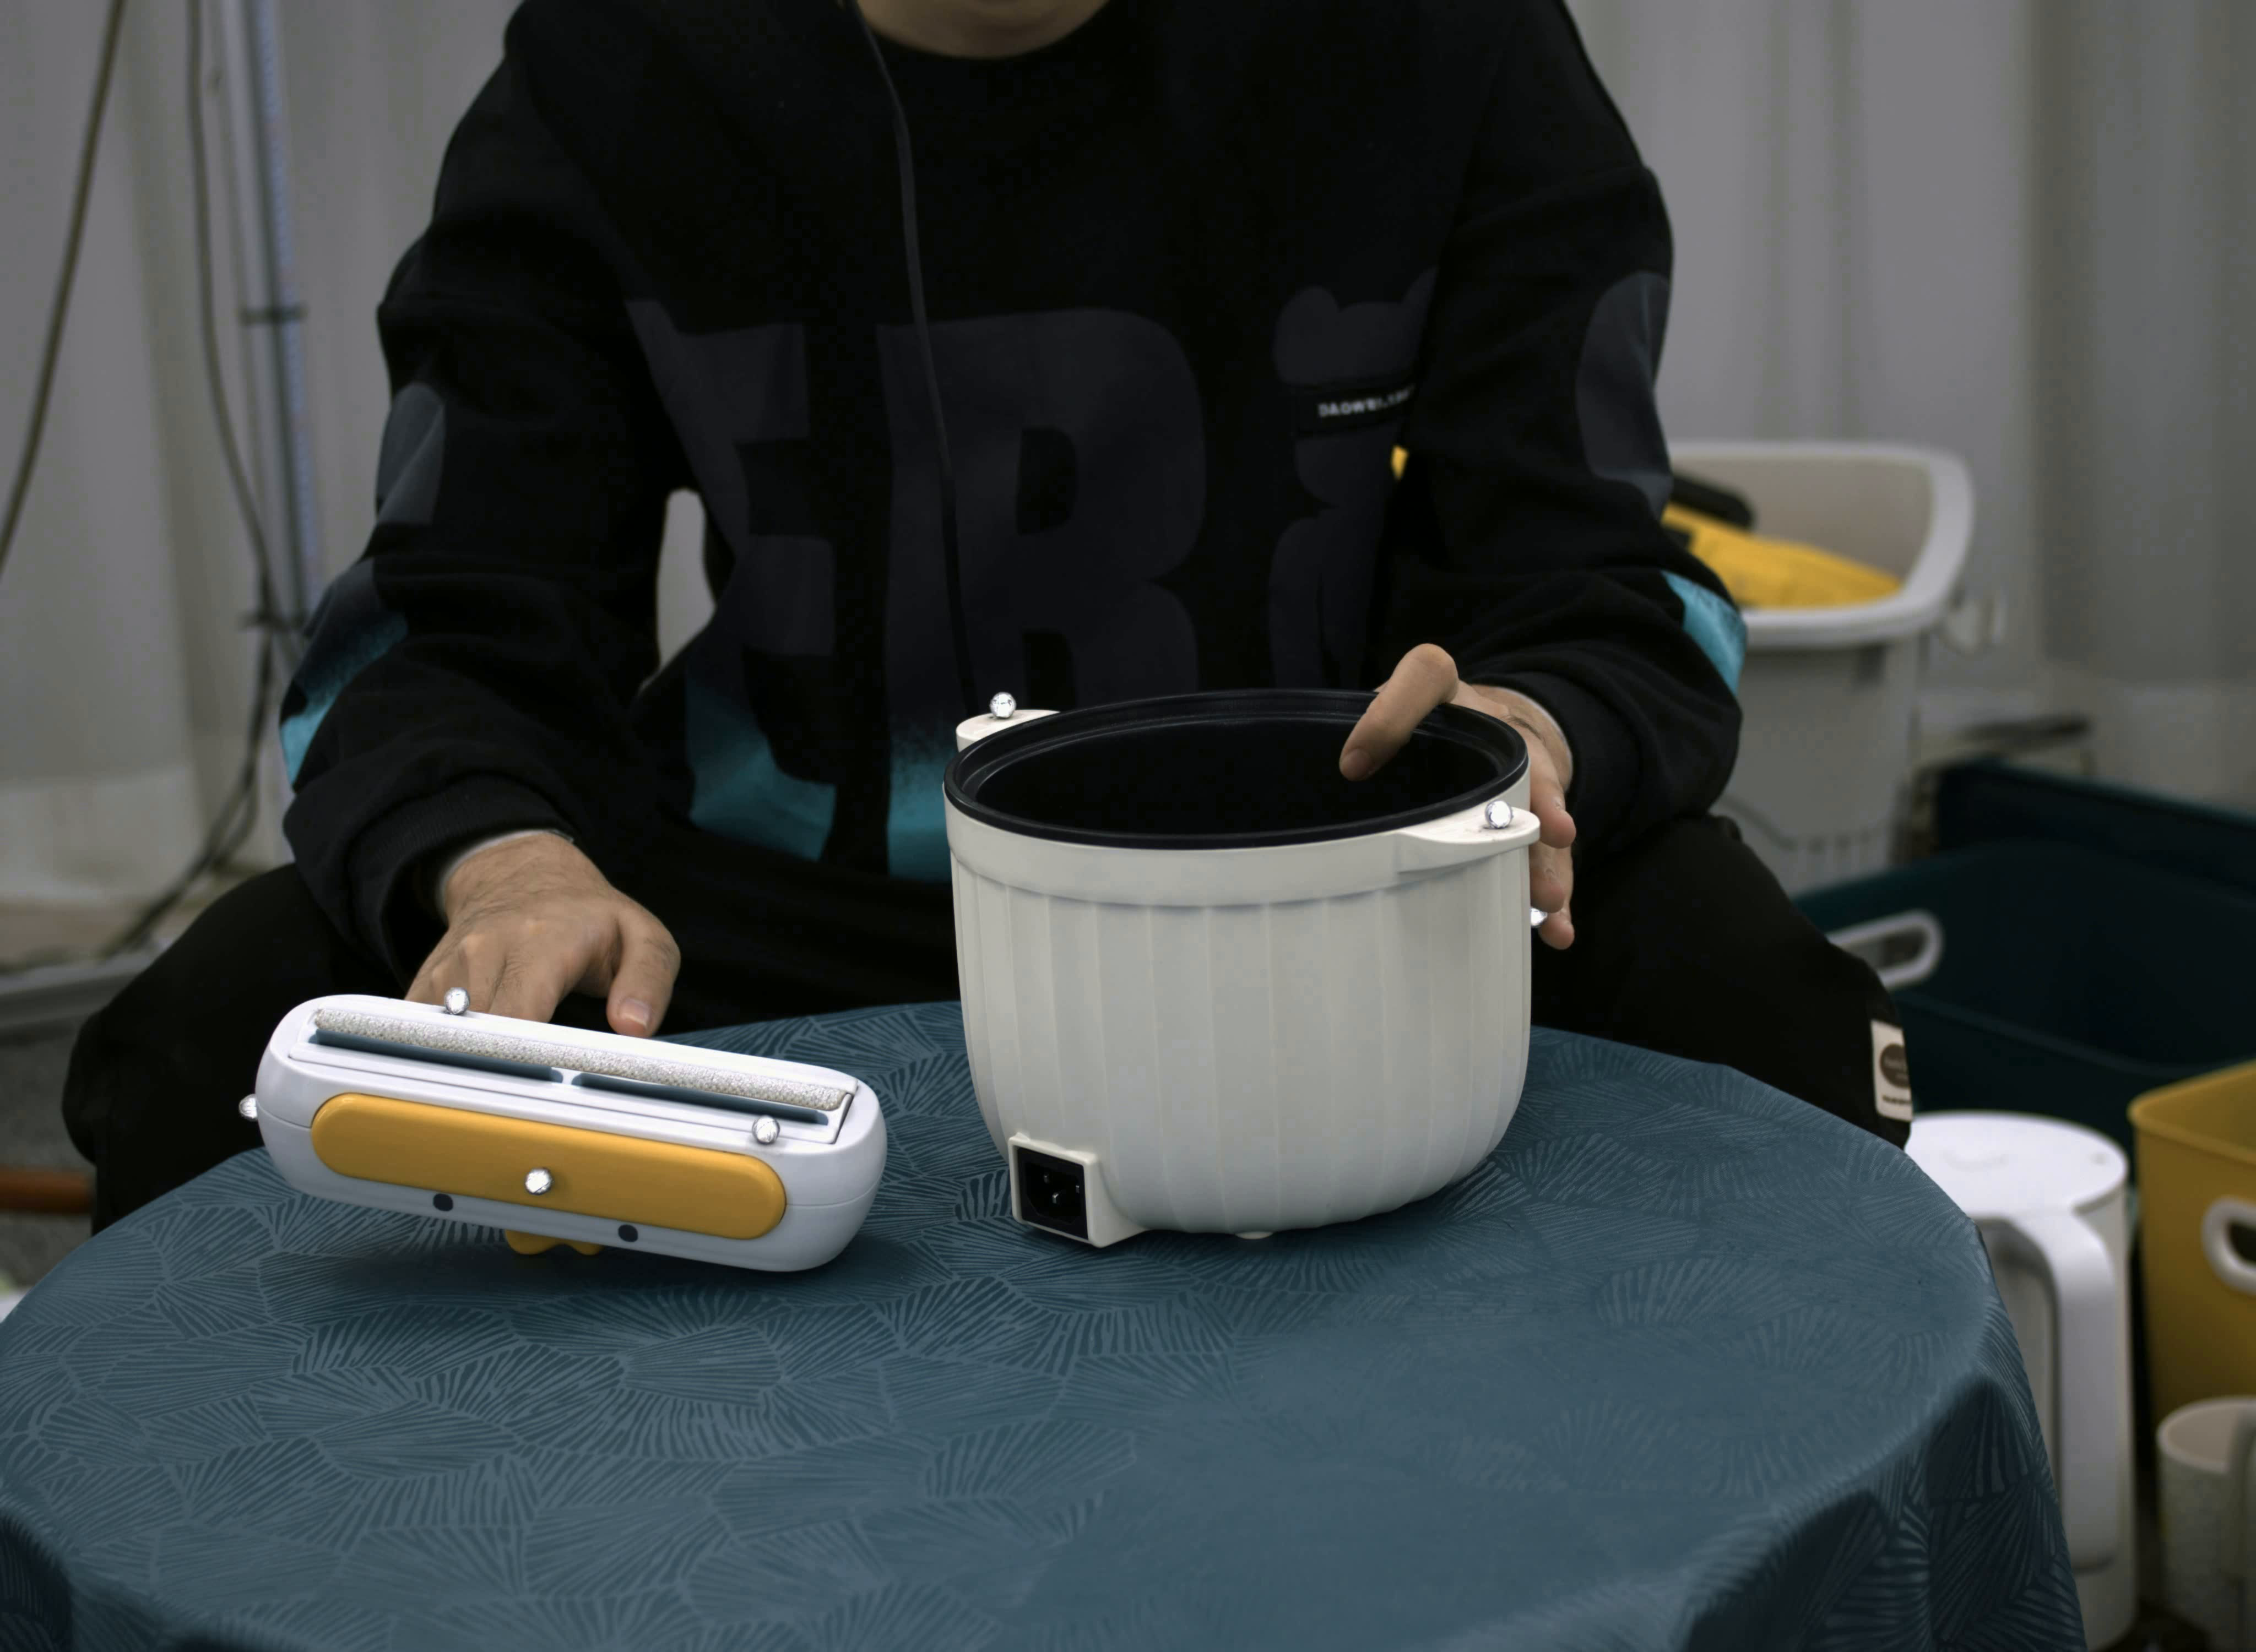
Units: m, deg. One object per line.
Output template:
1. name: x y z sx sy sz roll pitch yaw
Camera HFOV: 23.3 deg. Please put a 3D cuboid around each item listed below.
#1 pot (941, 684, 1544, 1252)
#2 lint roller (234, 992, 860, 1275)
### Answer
1. pot: 0.040 0.042 1.710 0.190 0.142 0.242 -20 23 -40
2. lint roller: -0.167 0.086 1.726 0.192 0.074 0.193 5 15 10
